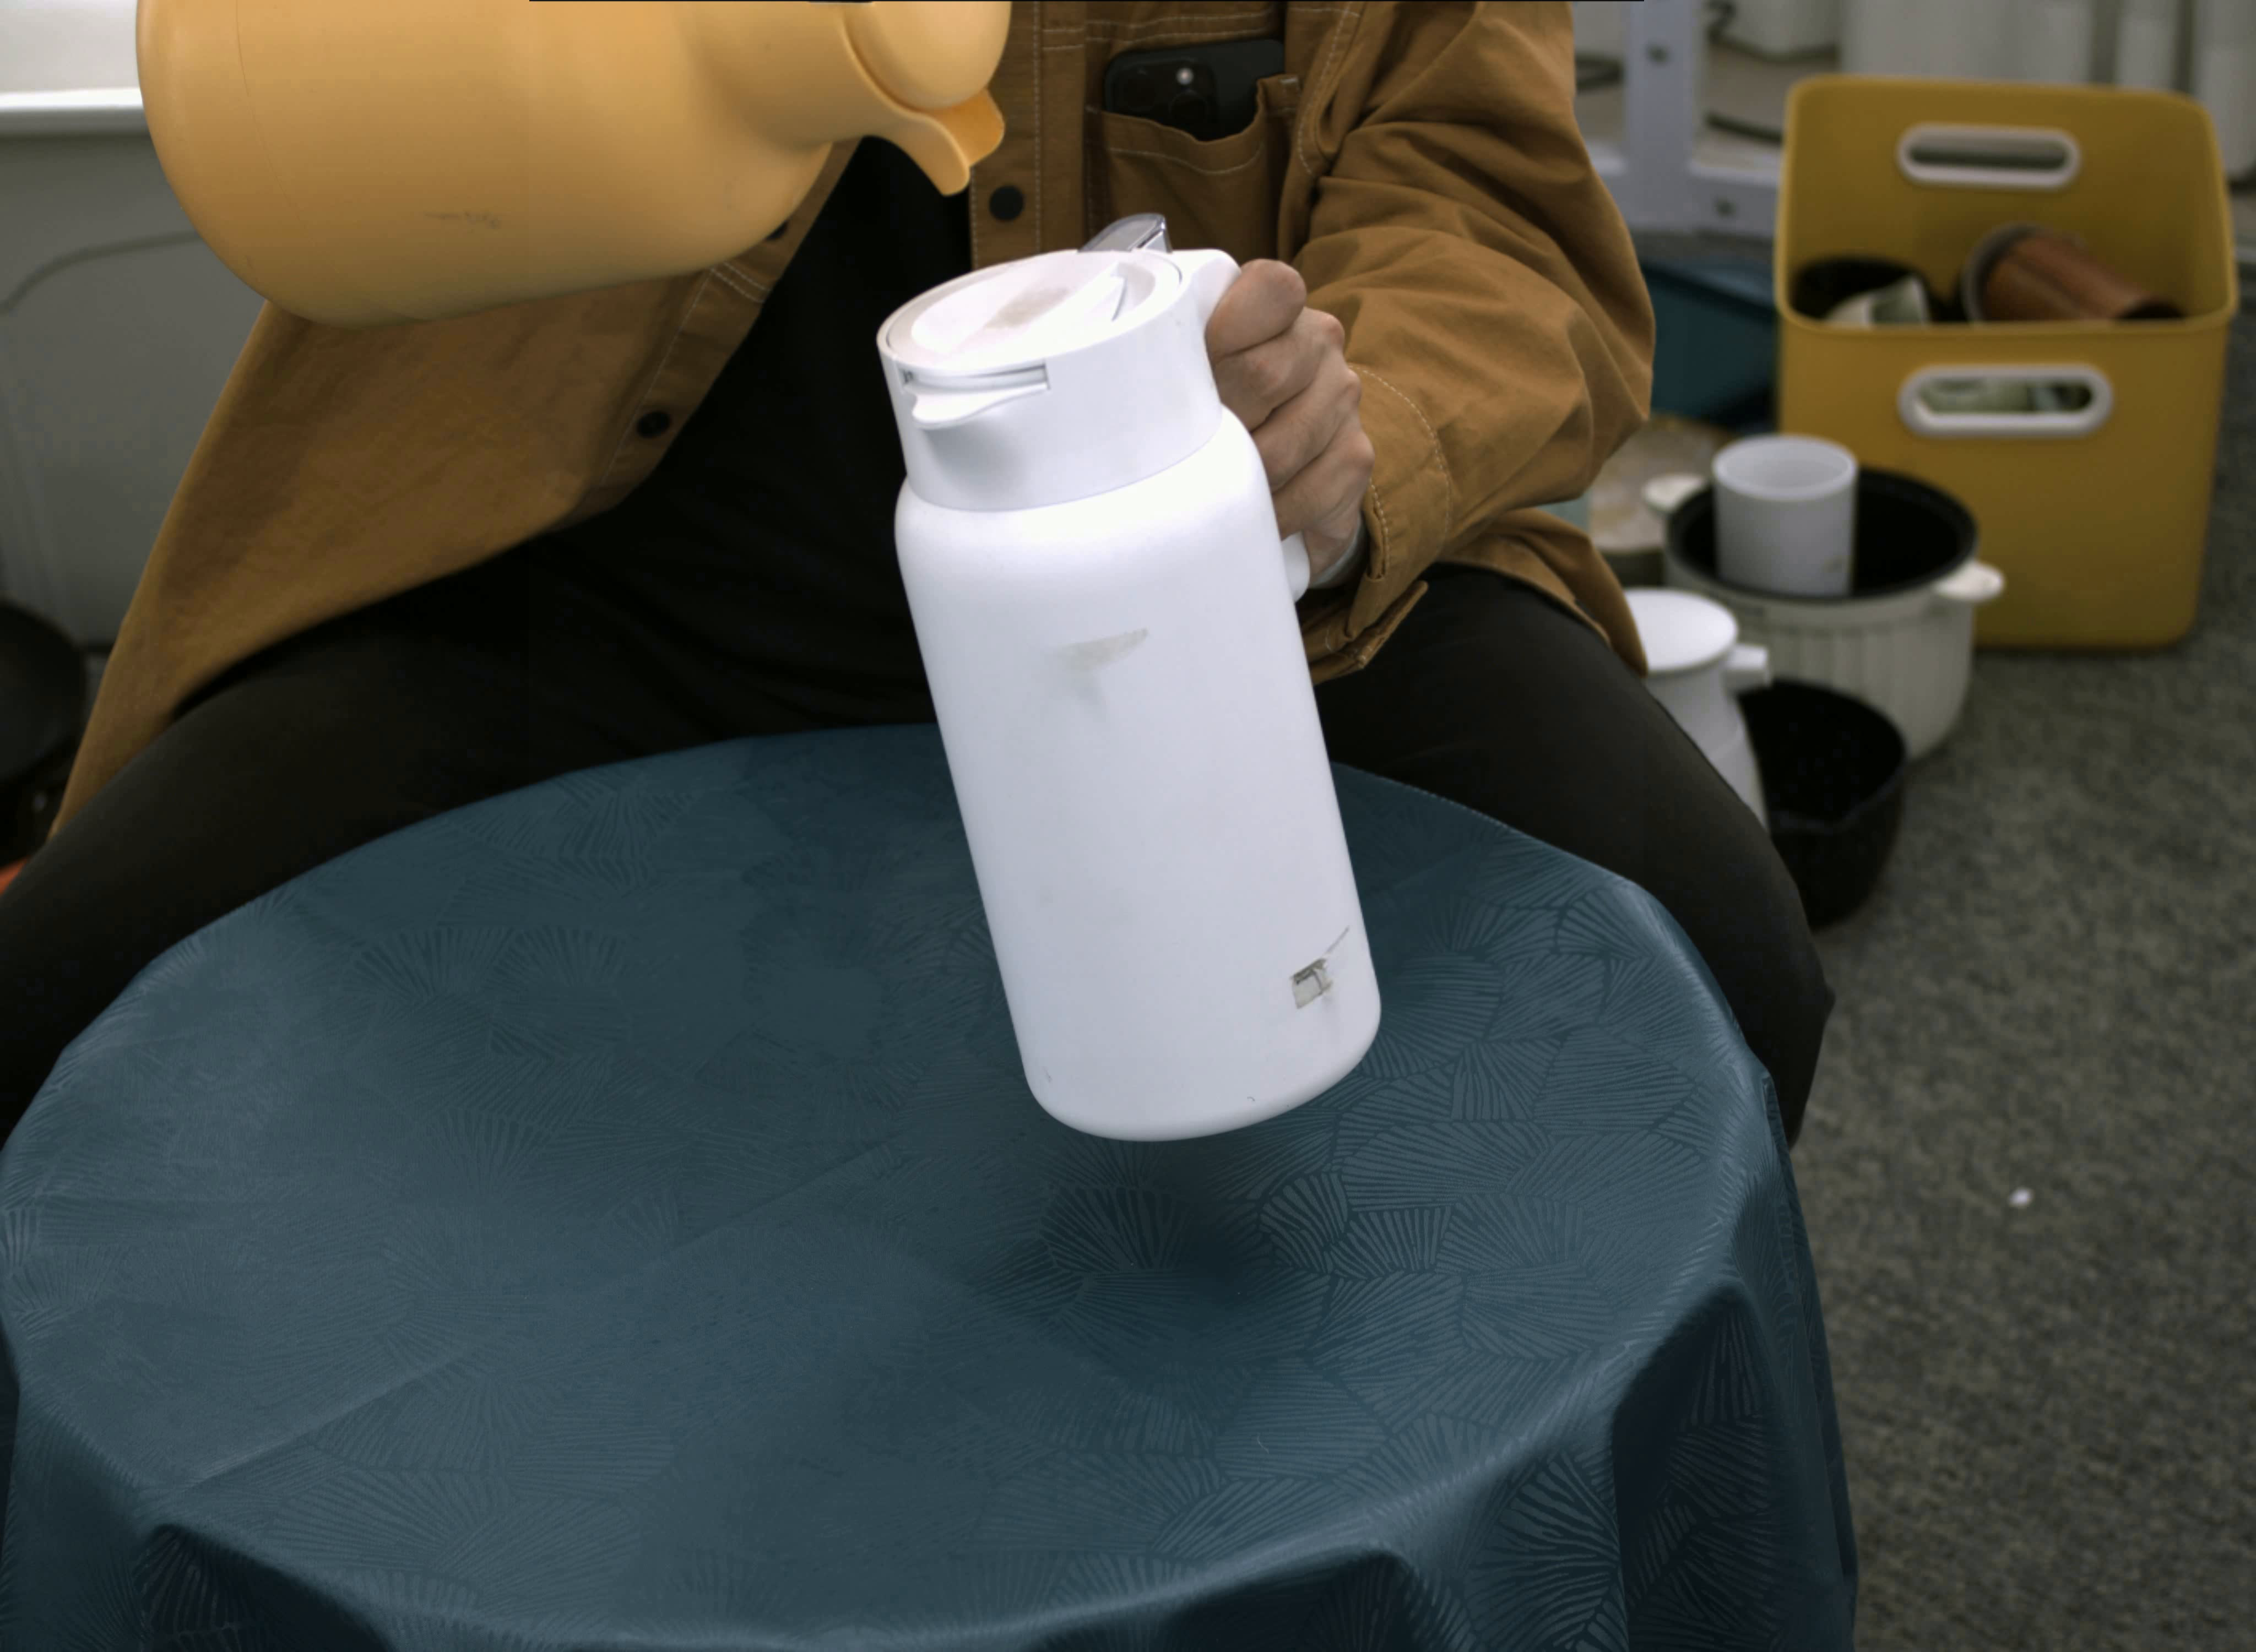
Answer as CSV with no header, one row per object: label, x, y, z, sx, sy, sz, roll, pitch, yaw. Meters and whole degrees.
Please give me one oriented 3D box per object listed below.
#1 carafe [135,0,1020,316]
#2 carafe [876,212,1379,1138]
carafe,-0.167,-0.265,1.705,0.257,0.201,0.166,-7,27,25
carafe,0.005,-0.051,1.775,0.122,0.267,0.176,-2,24,31
